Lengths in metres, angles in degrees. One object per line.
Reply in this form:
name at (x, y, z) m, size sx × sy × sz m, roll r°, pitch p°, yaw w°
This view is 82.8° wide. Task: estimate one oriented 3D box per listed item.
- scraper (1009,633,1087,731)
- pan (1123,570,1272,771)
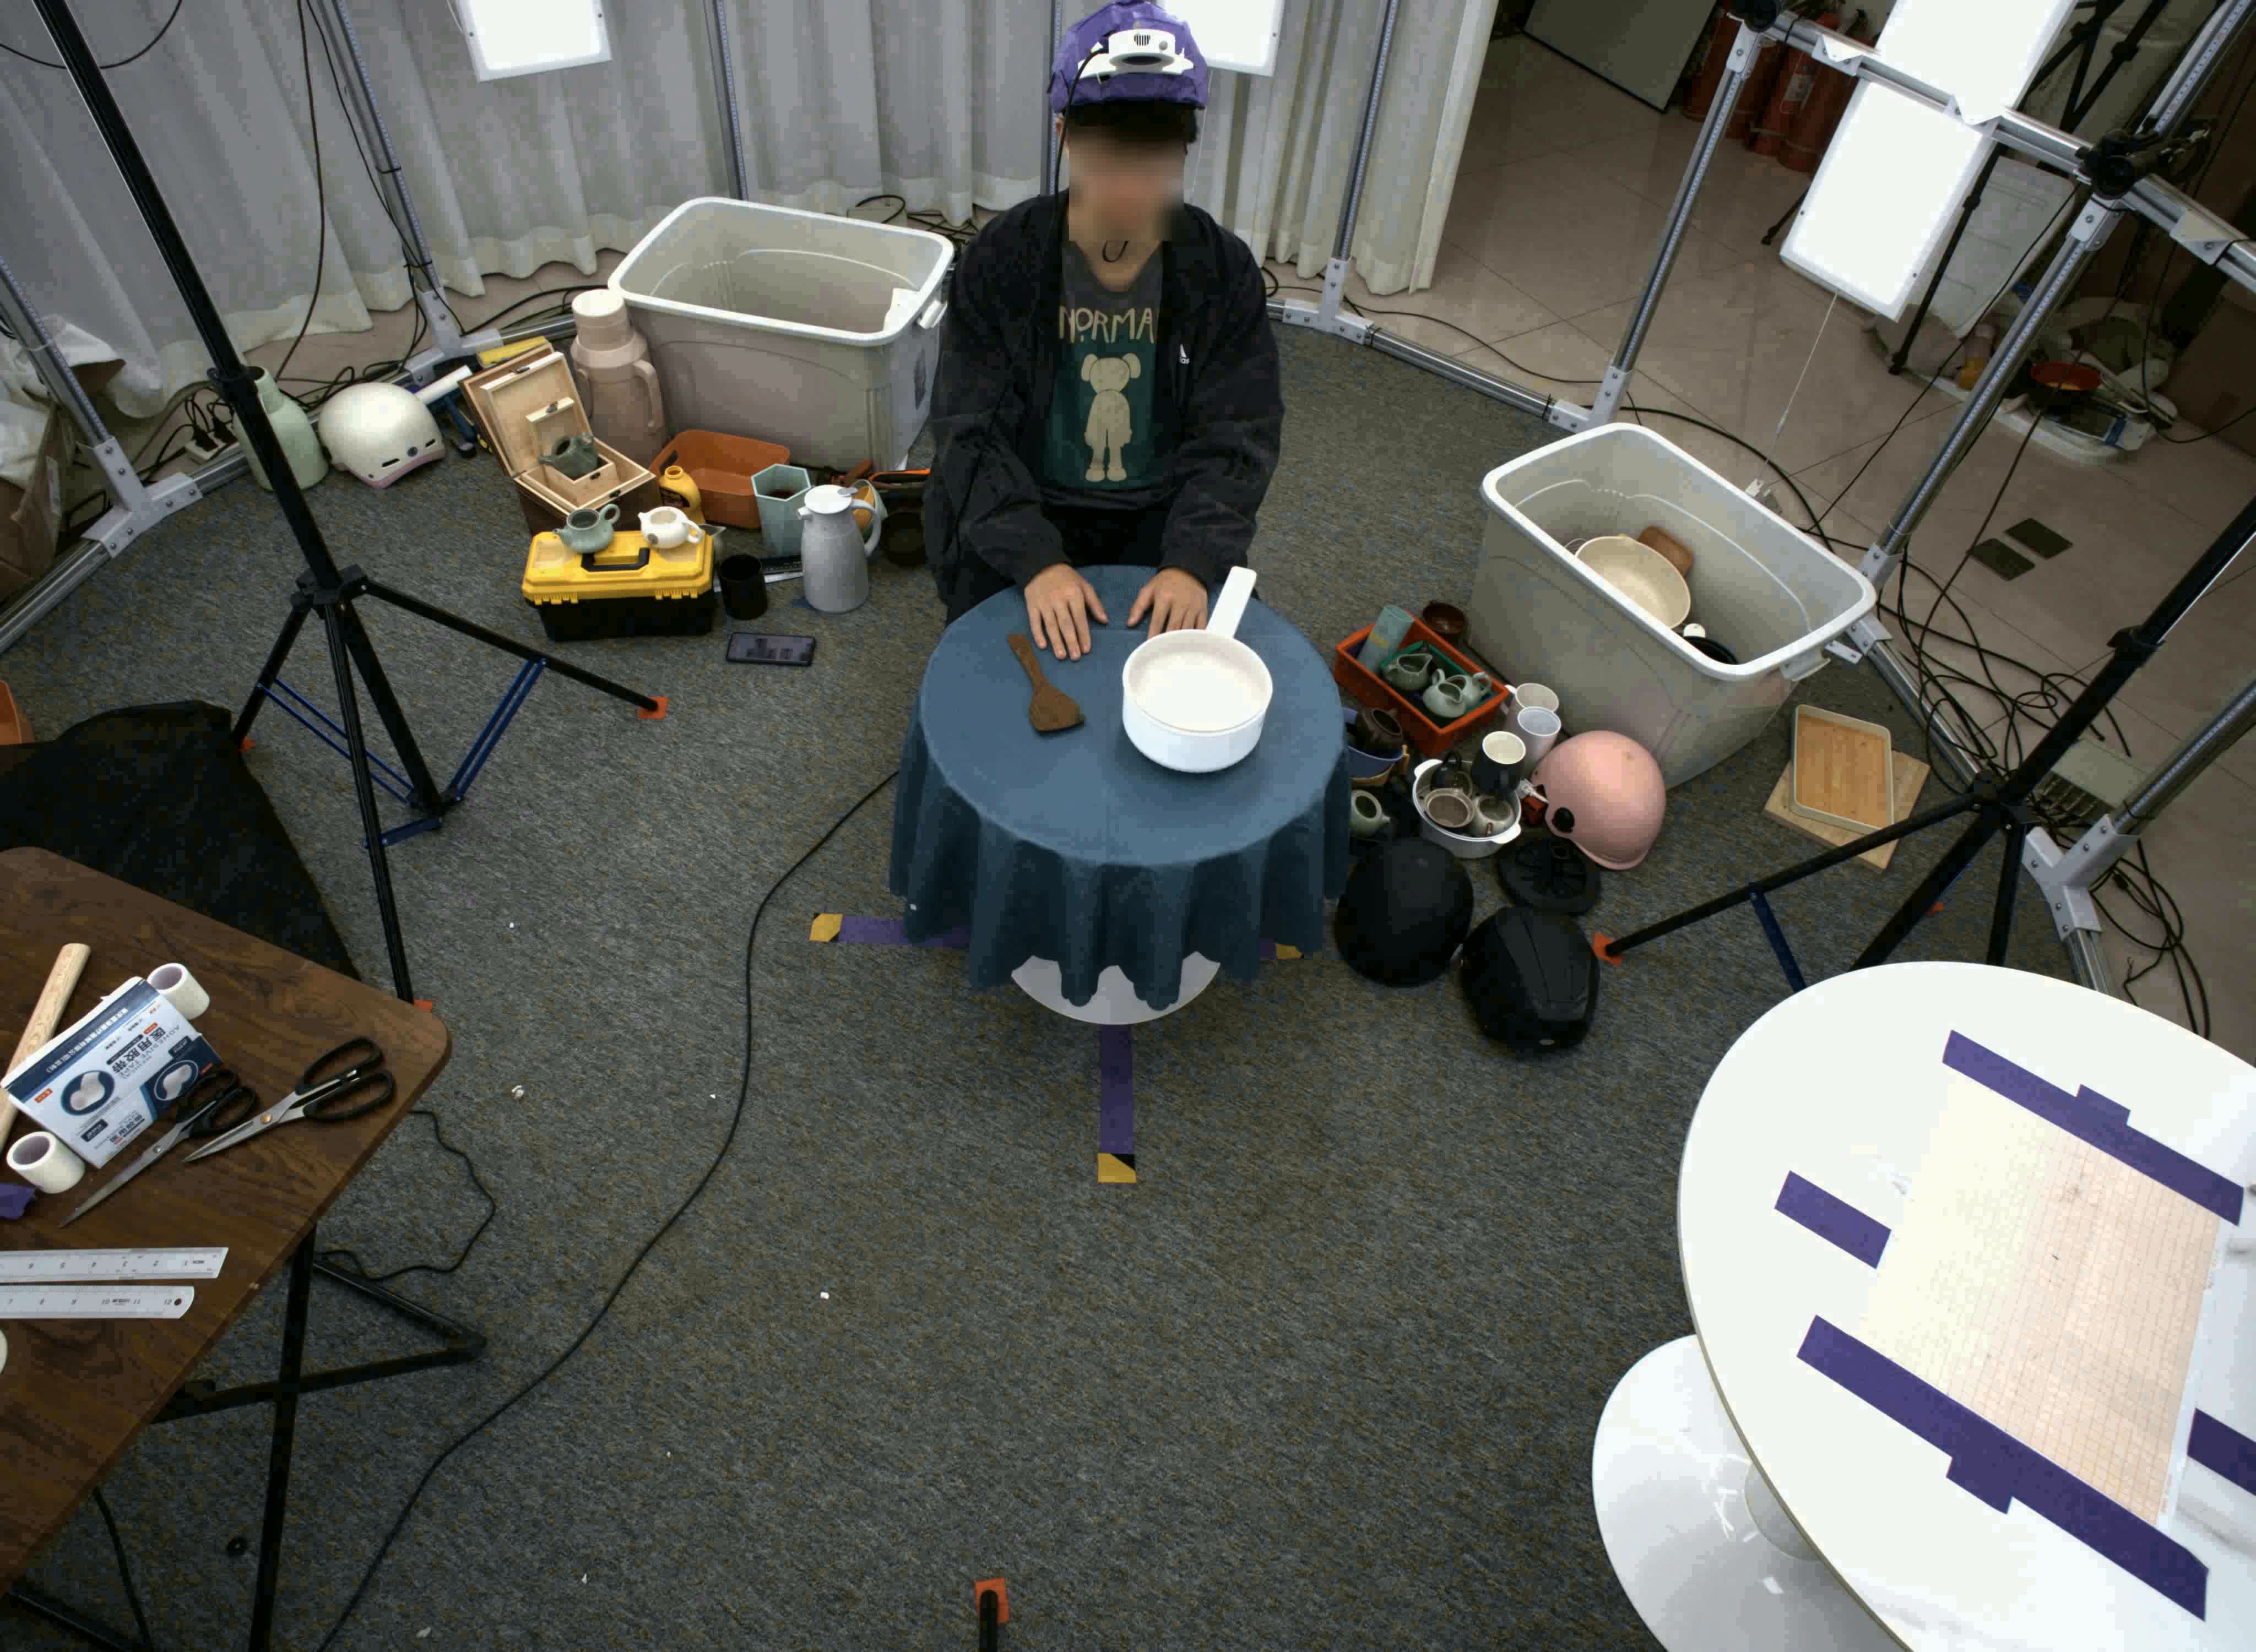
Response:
scraper at (-0.127, -0.208, 1.836) m, size 0.076 × 0.010 × 0.216 m, roll -14°, pitch 50°, yaw -16°
pan at (0.115, -0.220, 1.802) m, size 0.202 × 0.099 × 0.362 m, roll 15°, pitch 48°, yaw 10°
